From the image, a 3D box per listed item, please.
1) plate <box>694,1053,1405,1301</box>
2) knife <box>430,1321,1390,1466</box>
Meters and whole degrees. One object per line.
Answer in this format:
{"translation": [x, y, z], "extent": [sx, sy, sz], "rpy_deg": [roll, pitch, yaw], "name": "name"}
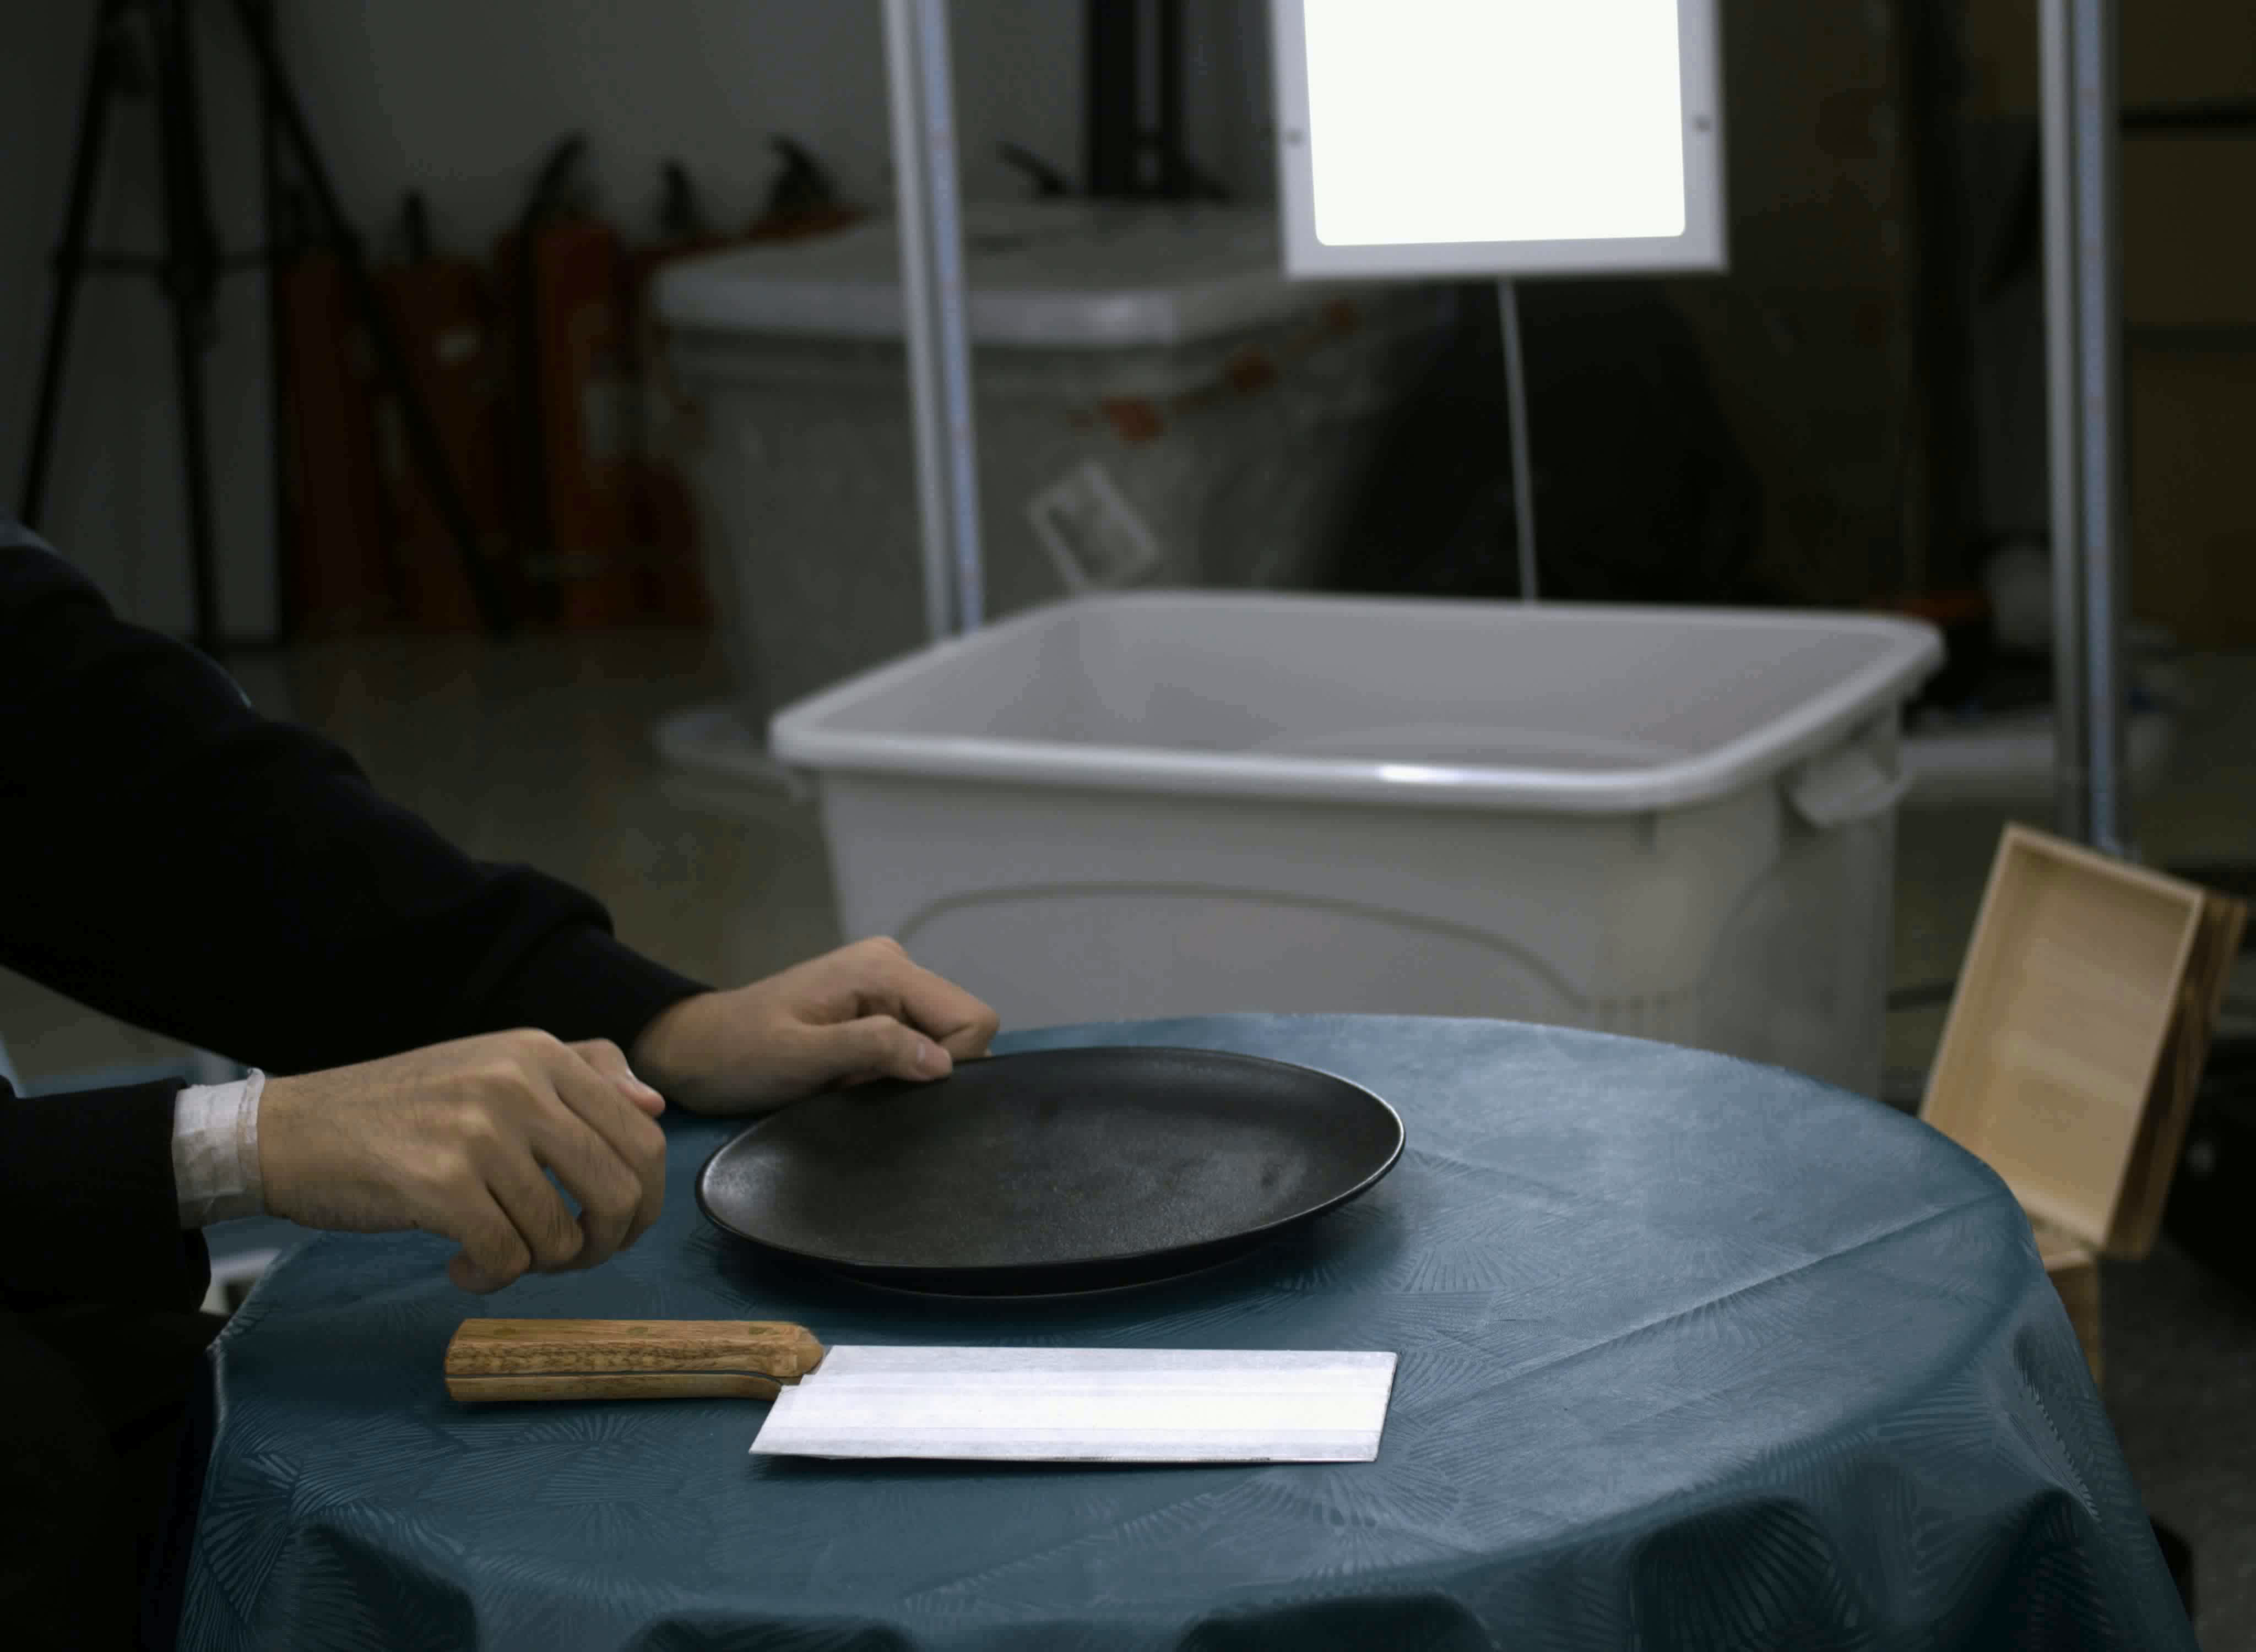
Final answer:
{"translation": [-0.026, 0.121, 1.877], "extent": [0.244, 0.023, 0.244], "rpy_deg": [-5, 14, 0], "name": "plate"}
{"translation": [-0.071, 0.176, 1.692], "extent": [0.307, 0.021, 0.092], "rpy_deg": [0, 16, 10], "name": "knife"}
